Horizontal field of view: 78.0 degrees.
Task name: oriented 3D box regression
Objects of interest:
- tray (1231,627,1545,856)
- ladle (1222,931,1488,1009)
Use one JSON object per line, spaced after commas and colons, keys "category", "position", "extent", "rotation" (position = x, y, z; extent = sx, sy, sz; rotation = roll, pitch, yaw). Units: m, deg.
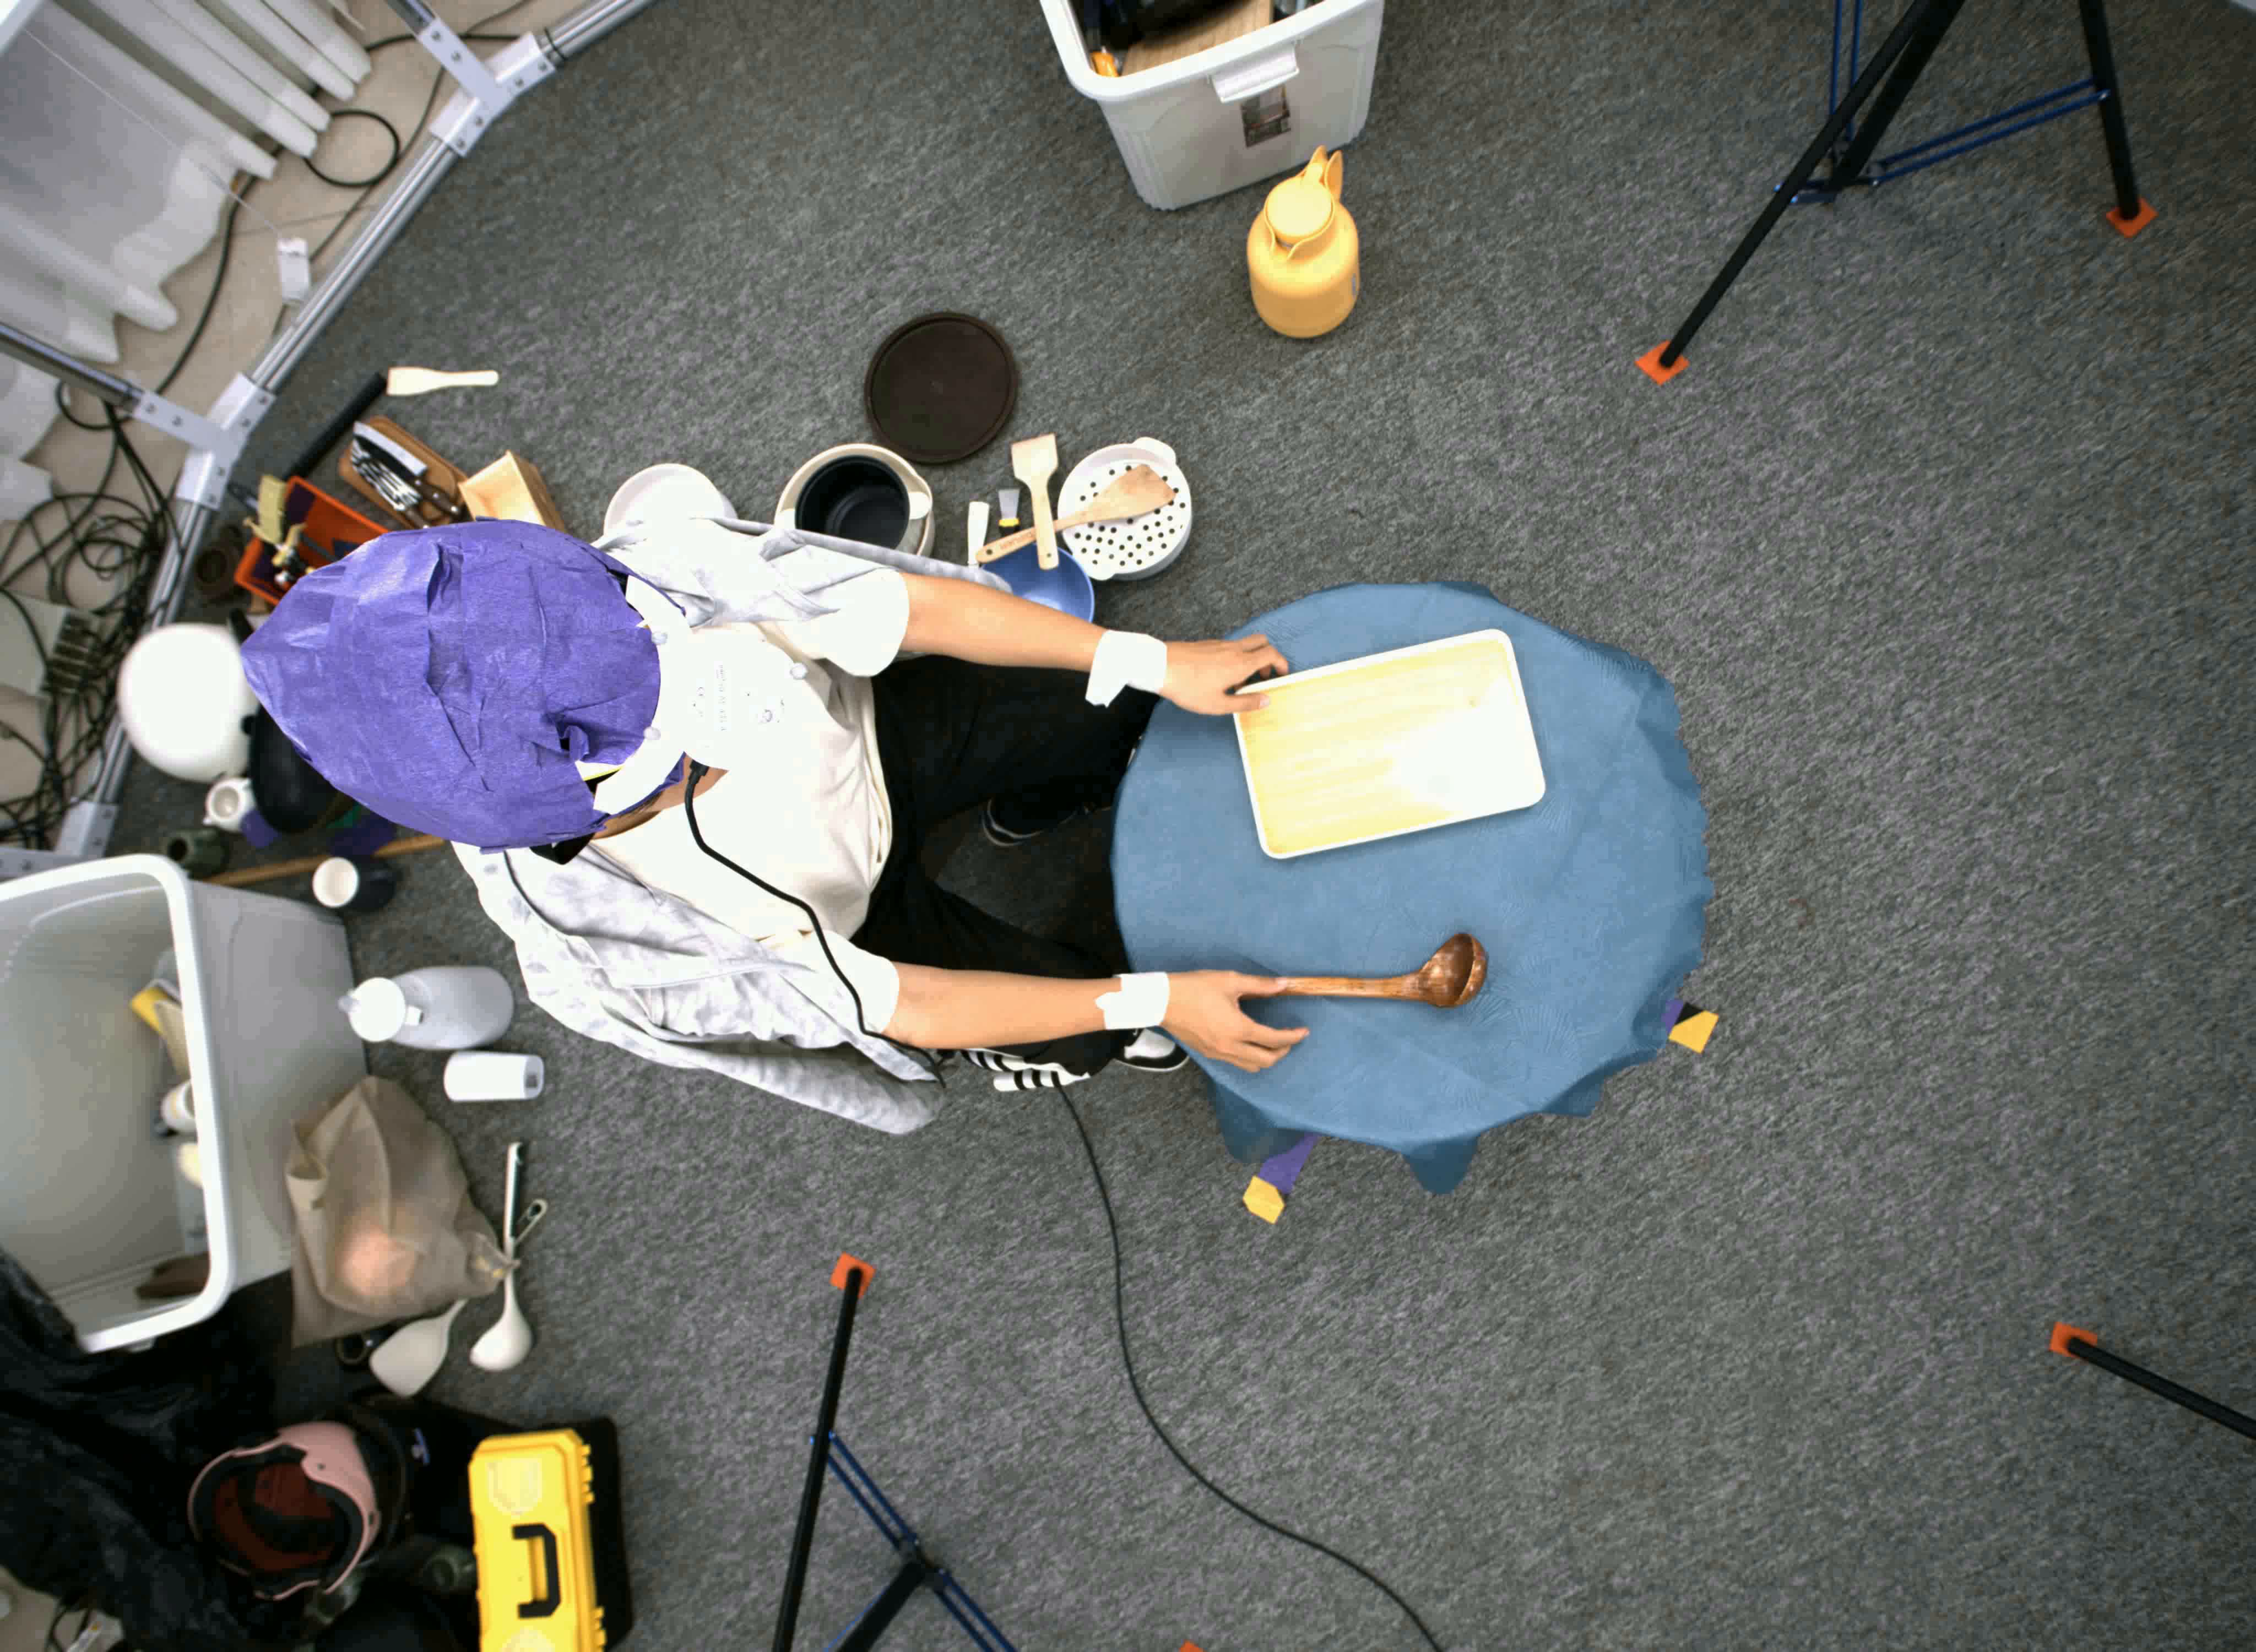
{"category": "tray", "position": [0.271, -0.089, 1.453], "extent": [0.302, 0.027, 0.190], "rotation": [-12, 85, 10]}
{"category": "ladle", "position": [0.230, 0.148, 1.426], "extent": [0.275, 0.078, 0.079], "rotation": [0, 45, 12]}
